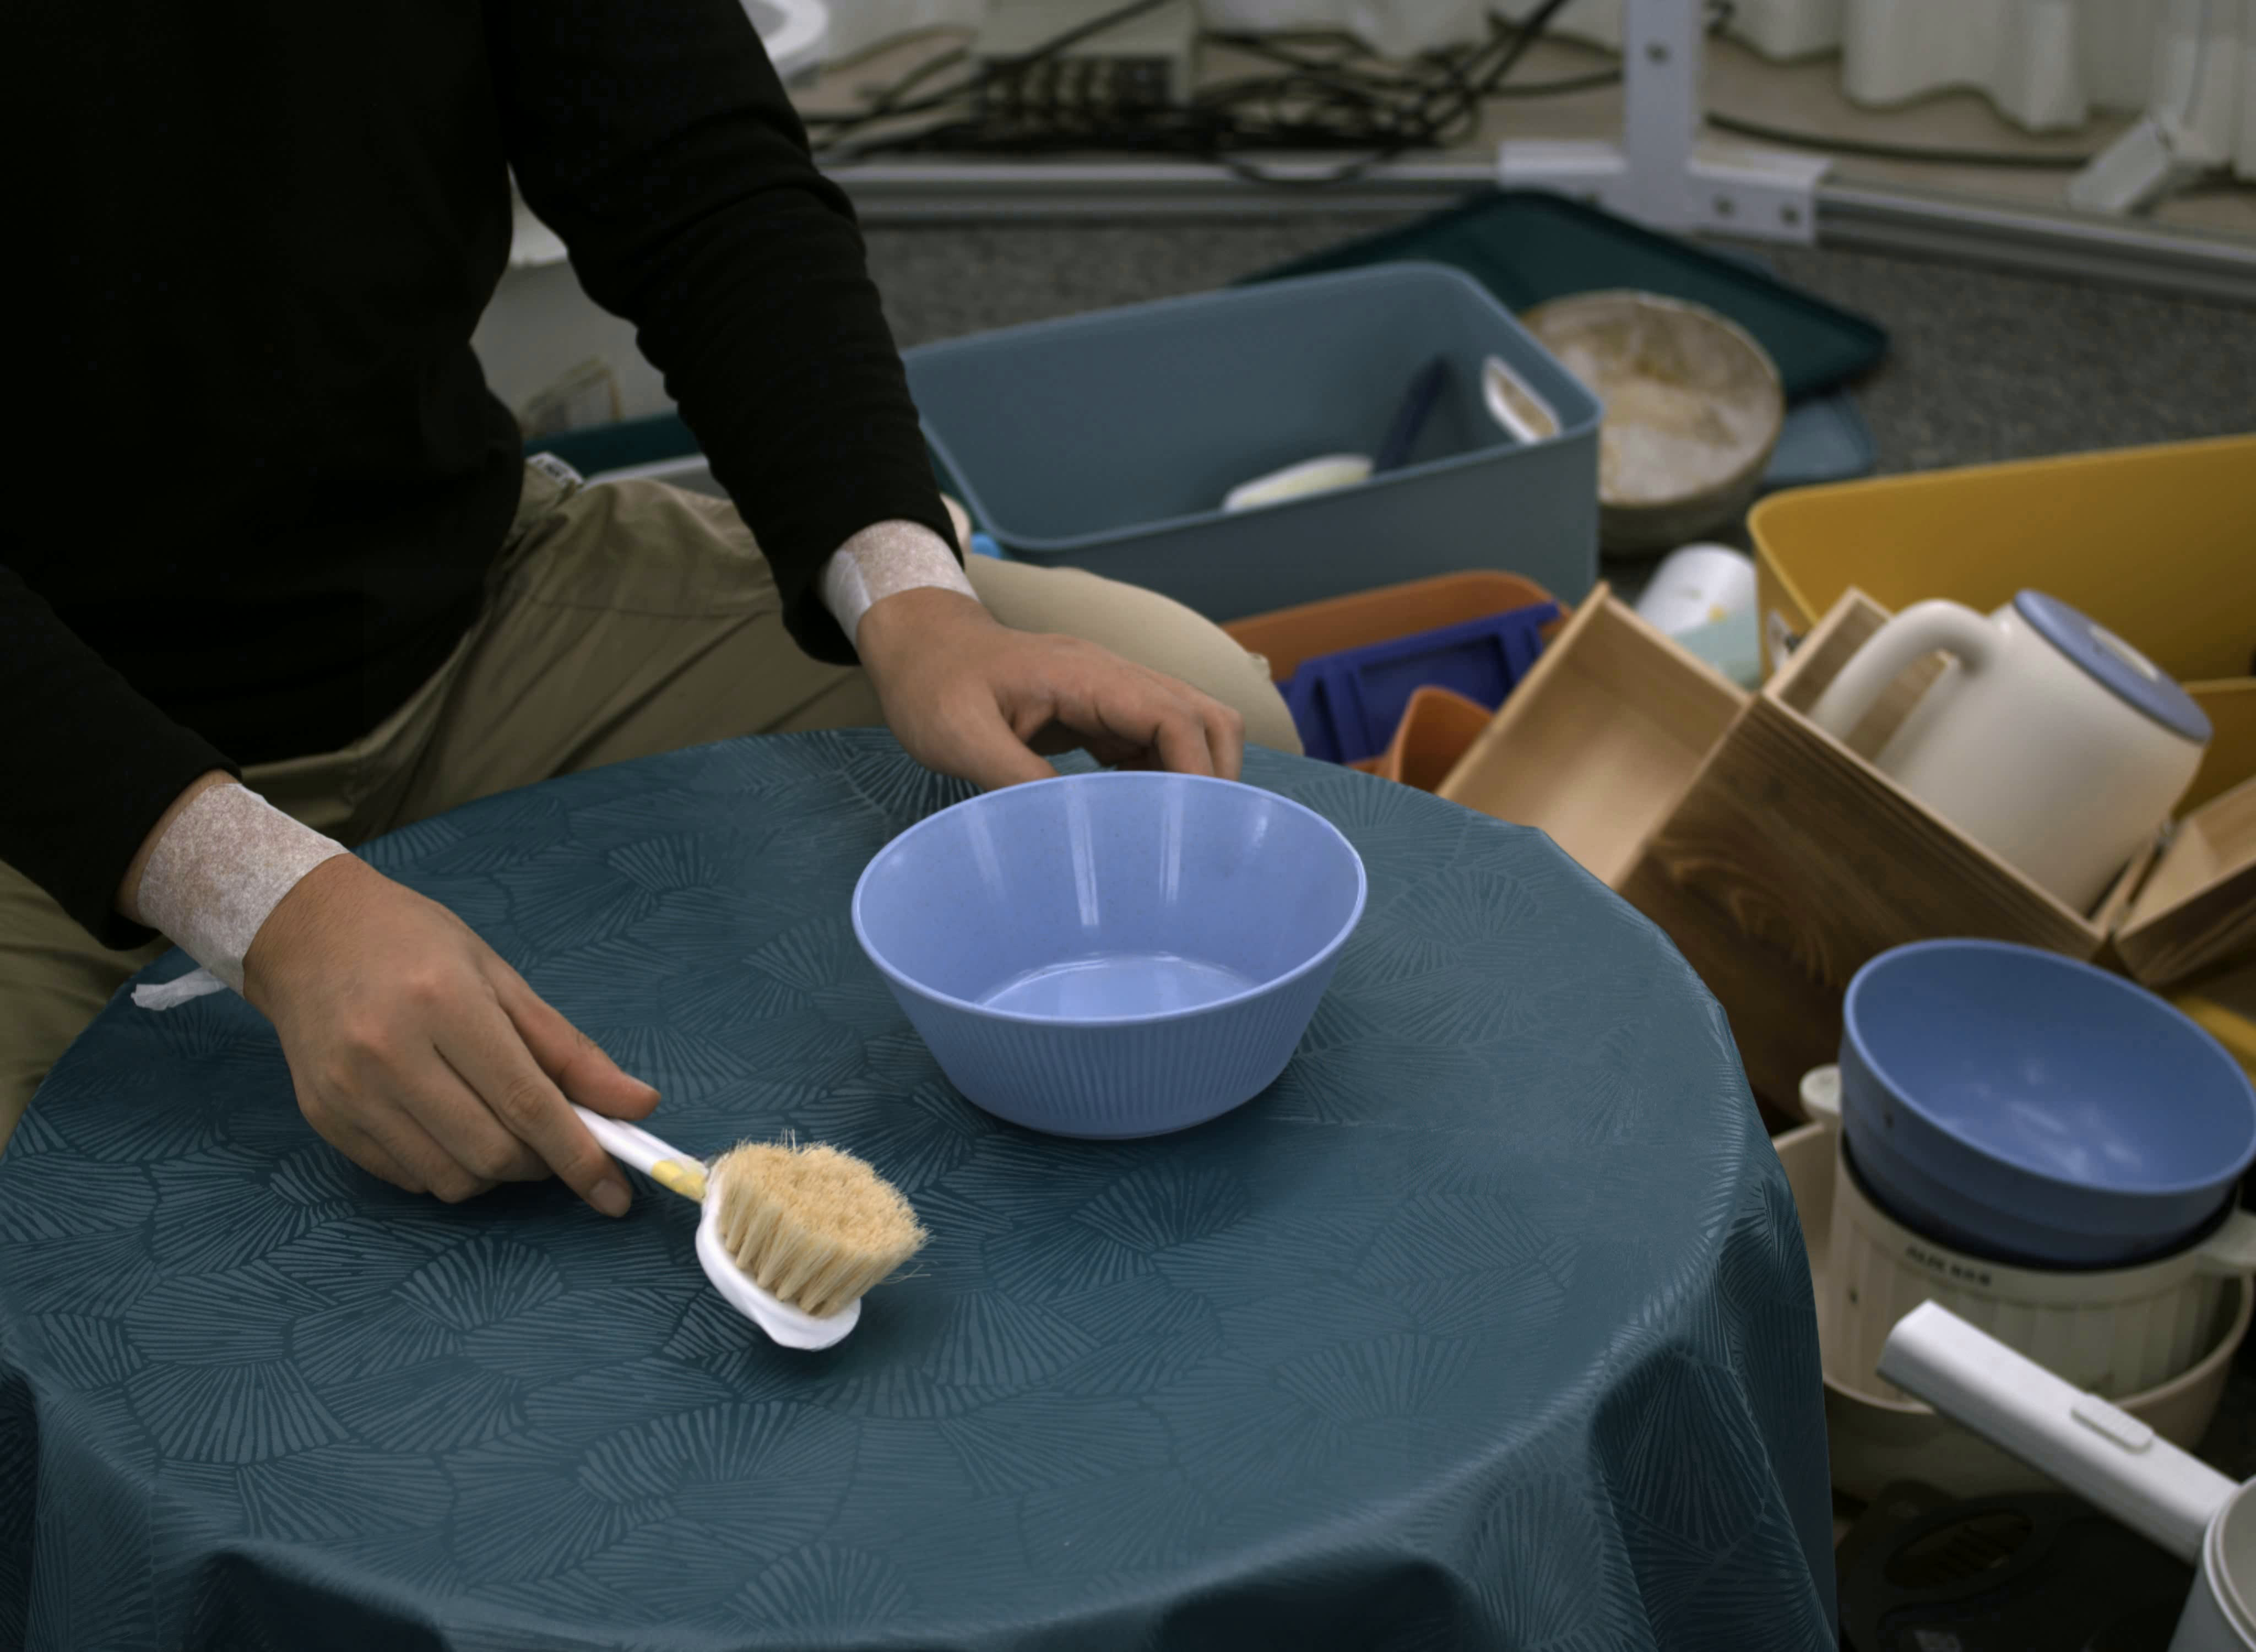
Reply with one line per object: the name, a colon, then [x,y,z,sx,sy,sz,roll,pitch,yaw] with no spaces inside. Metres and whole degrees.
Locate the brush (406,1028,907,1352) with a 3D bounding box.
brush: [-0.163,0.097,1.855,0.068,0.056,0.267,25,4,-39]

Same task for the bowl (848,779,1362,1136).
bowl: [-0.007,0.050,1.922,0.175,0.069,0.178,-2,26,1]
